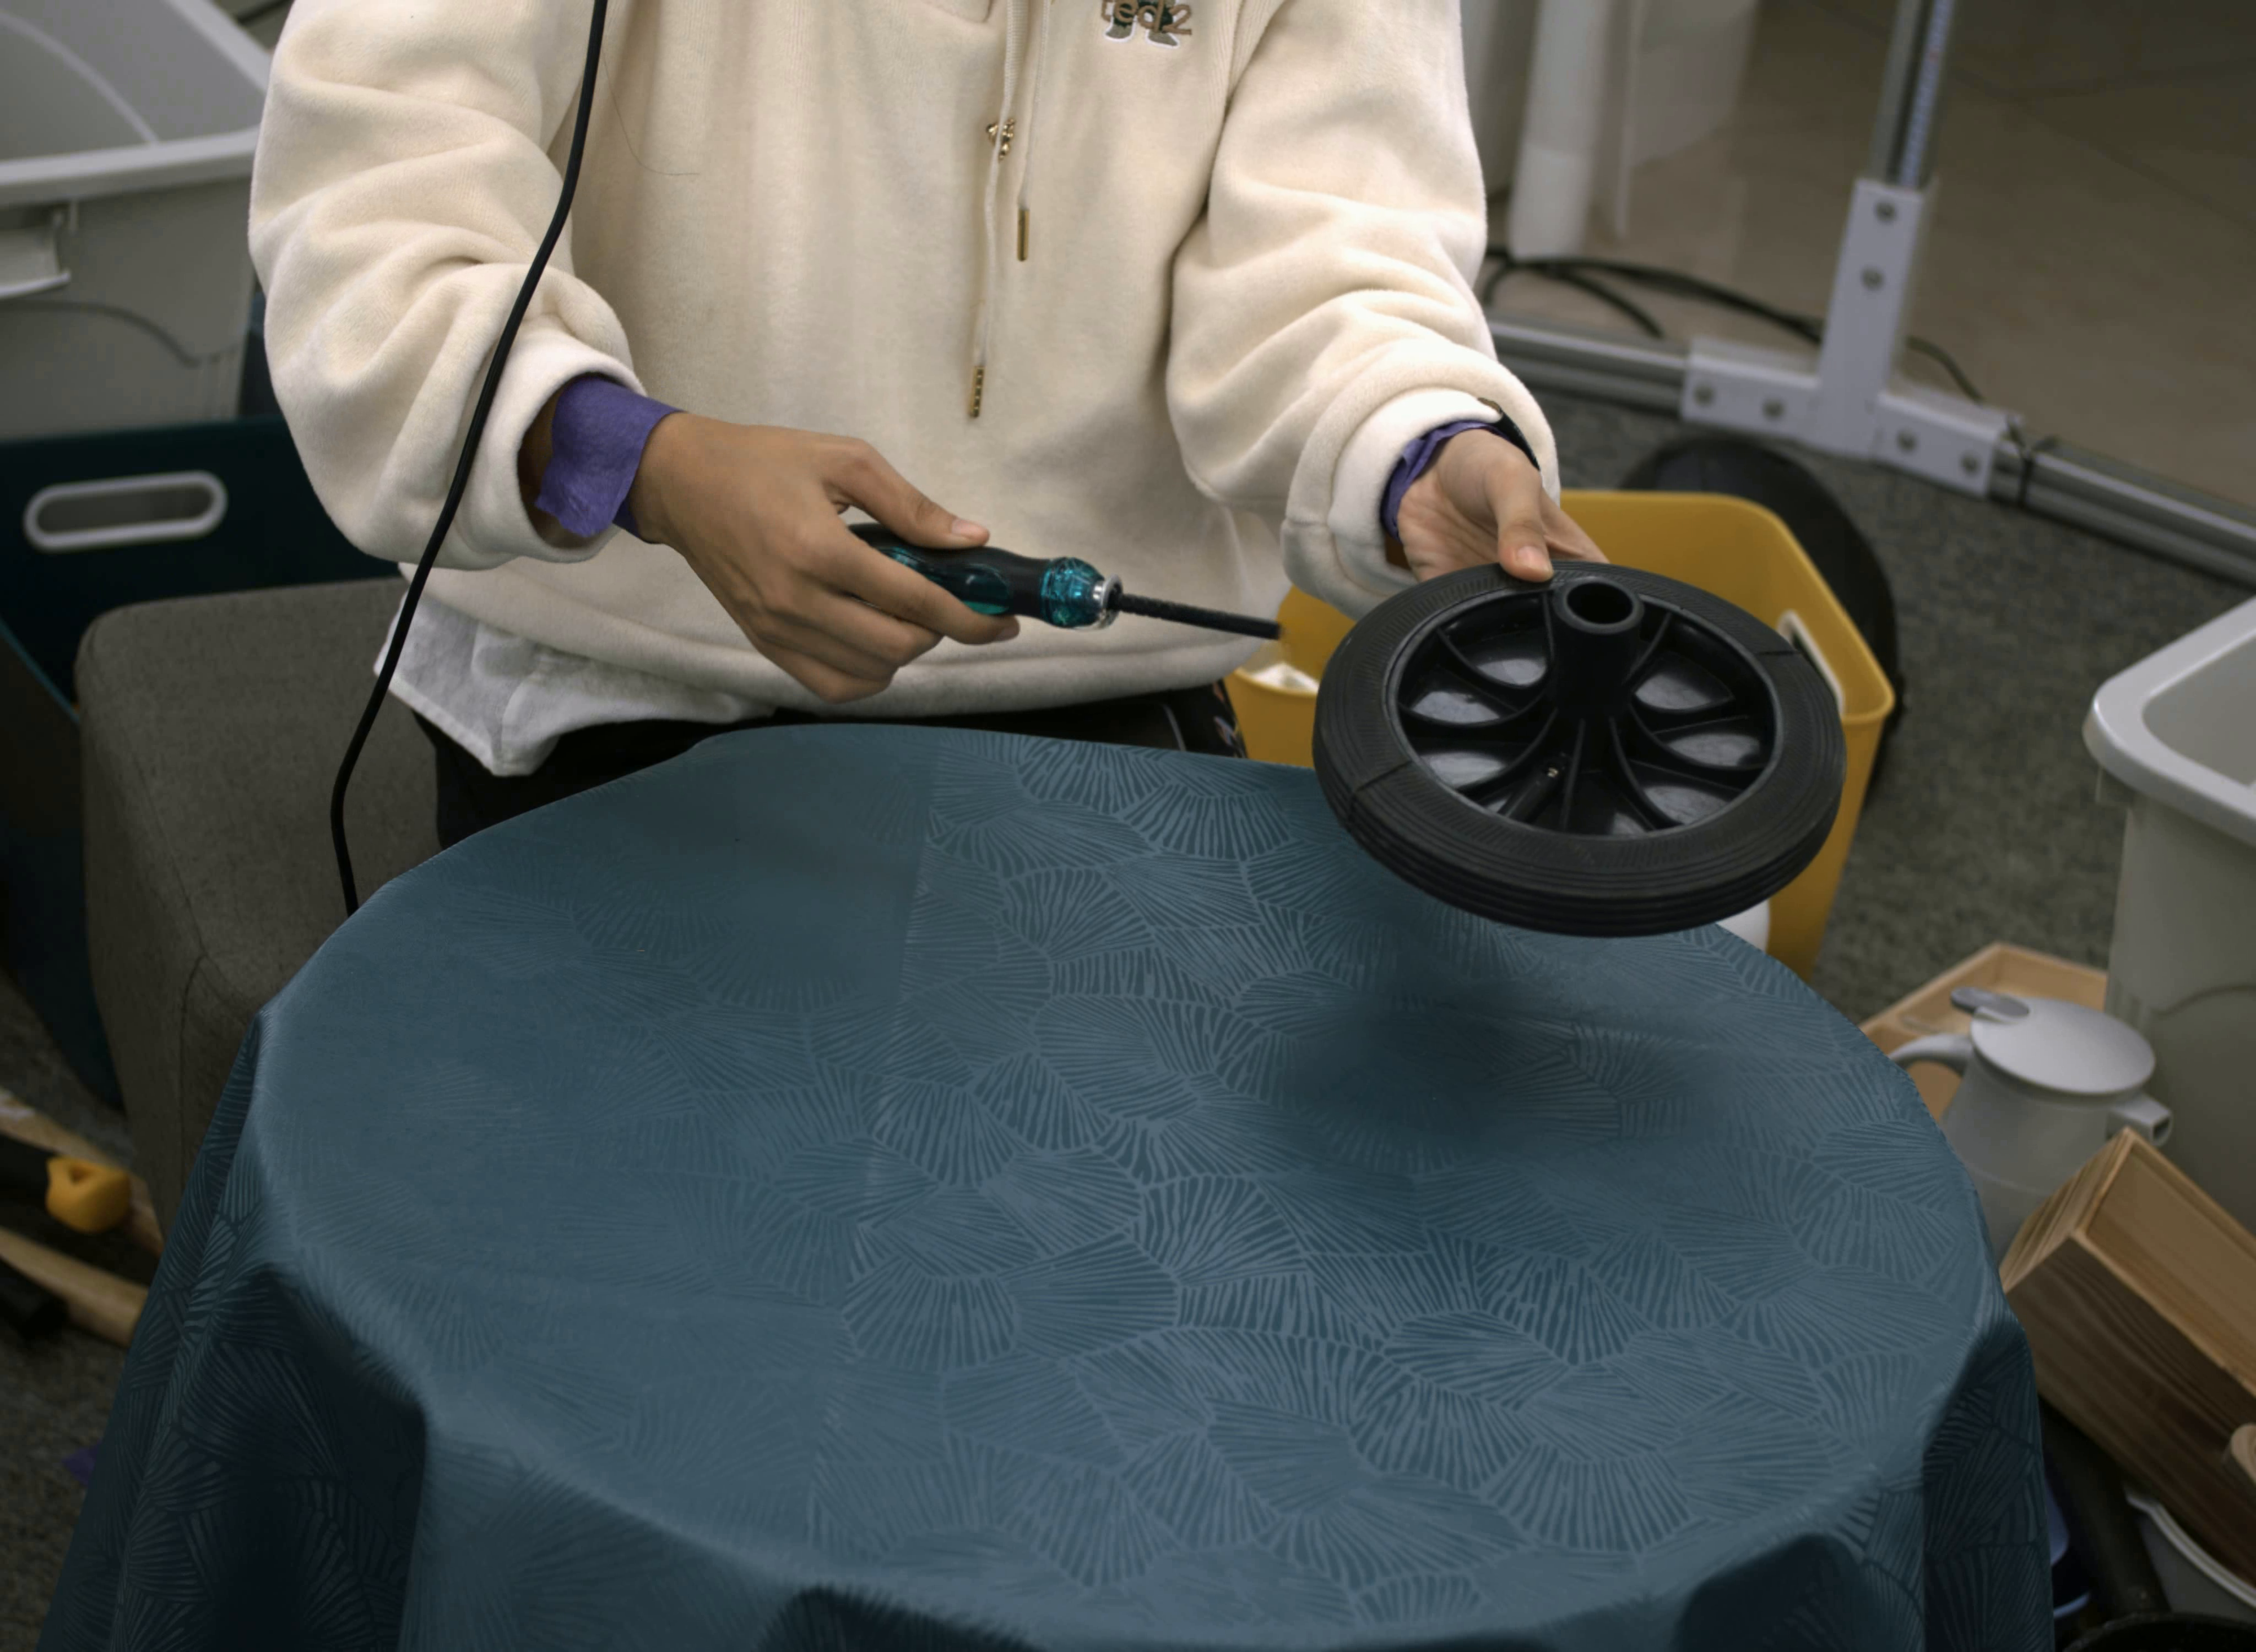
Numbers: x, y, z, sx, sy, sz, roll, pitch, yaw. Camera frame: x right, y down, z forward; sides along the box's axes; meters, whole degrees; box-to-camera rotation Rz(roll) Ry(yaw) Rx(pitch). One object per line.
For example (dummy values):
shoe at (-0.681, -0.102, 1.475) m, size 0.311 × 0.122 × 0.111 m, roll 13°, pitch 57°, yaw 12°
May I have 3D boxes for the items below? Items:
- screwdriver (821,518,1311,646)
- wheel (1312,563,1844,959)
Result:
screwdriver at (-0.022, -0.082, 1.905) m, size 0.190 × 0.033 × 0.033 m, roll 11°, pitch 26°, yaw 22°
wheel at (0.159, -0.041, 1.861) m, size 0.187 × 0.079 × 0.191 m, roll 7°, pitch 43°, yaw 4°
